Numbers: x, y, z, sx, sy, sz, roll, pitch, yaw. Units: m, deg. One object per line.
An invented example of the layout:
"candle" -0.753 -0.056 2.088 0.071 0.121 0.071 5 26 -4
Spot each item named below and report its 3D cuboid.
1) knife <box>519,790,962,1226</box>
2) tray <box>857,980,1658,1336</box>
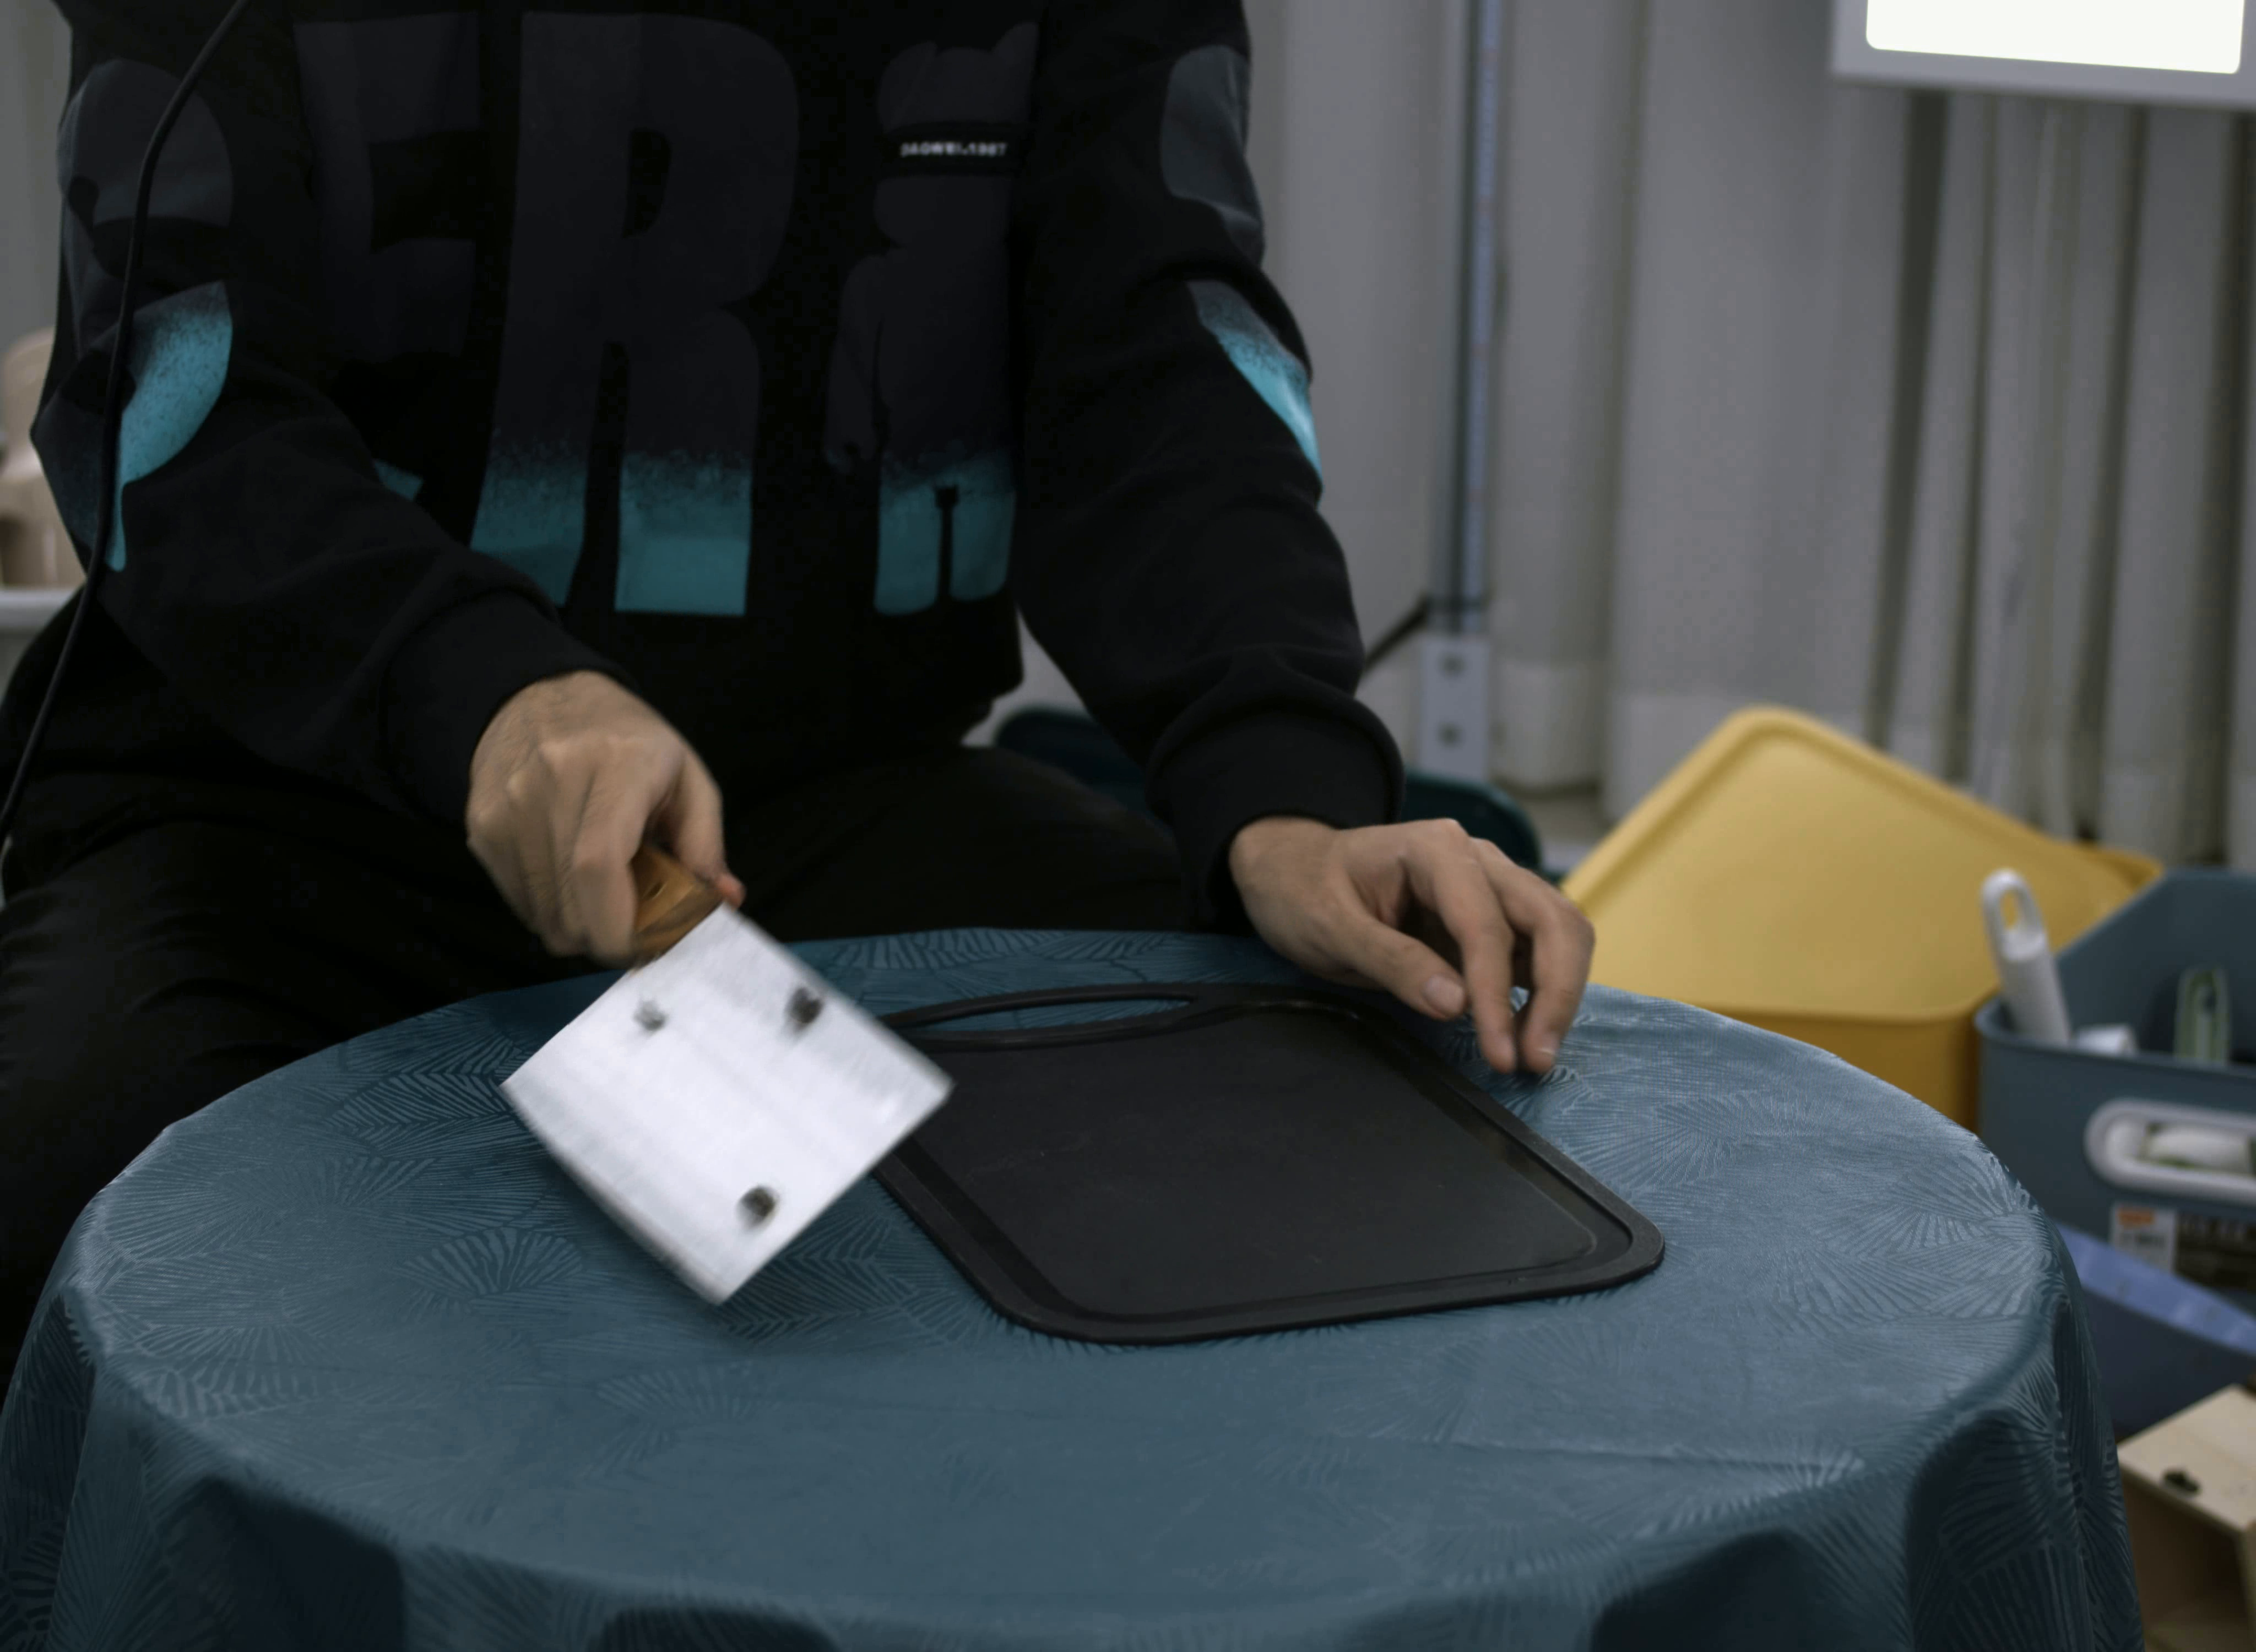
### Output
"knife" -0.142 0.056 1.624 0.093 0.021 0.302 -45 29 -9
"tray" 0.020 0.097 1.663 0.211 0.010 0.322 -5 17 -18
